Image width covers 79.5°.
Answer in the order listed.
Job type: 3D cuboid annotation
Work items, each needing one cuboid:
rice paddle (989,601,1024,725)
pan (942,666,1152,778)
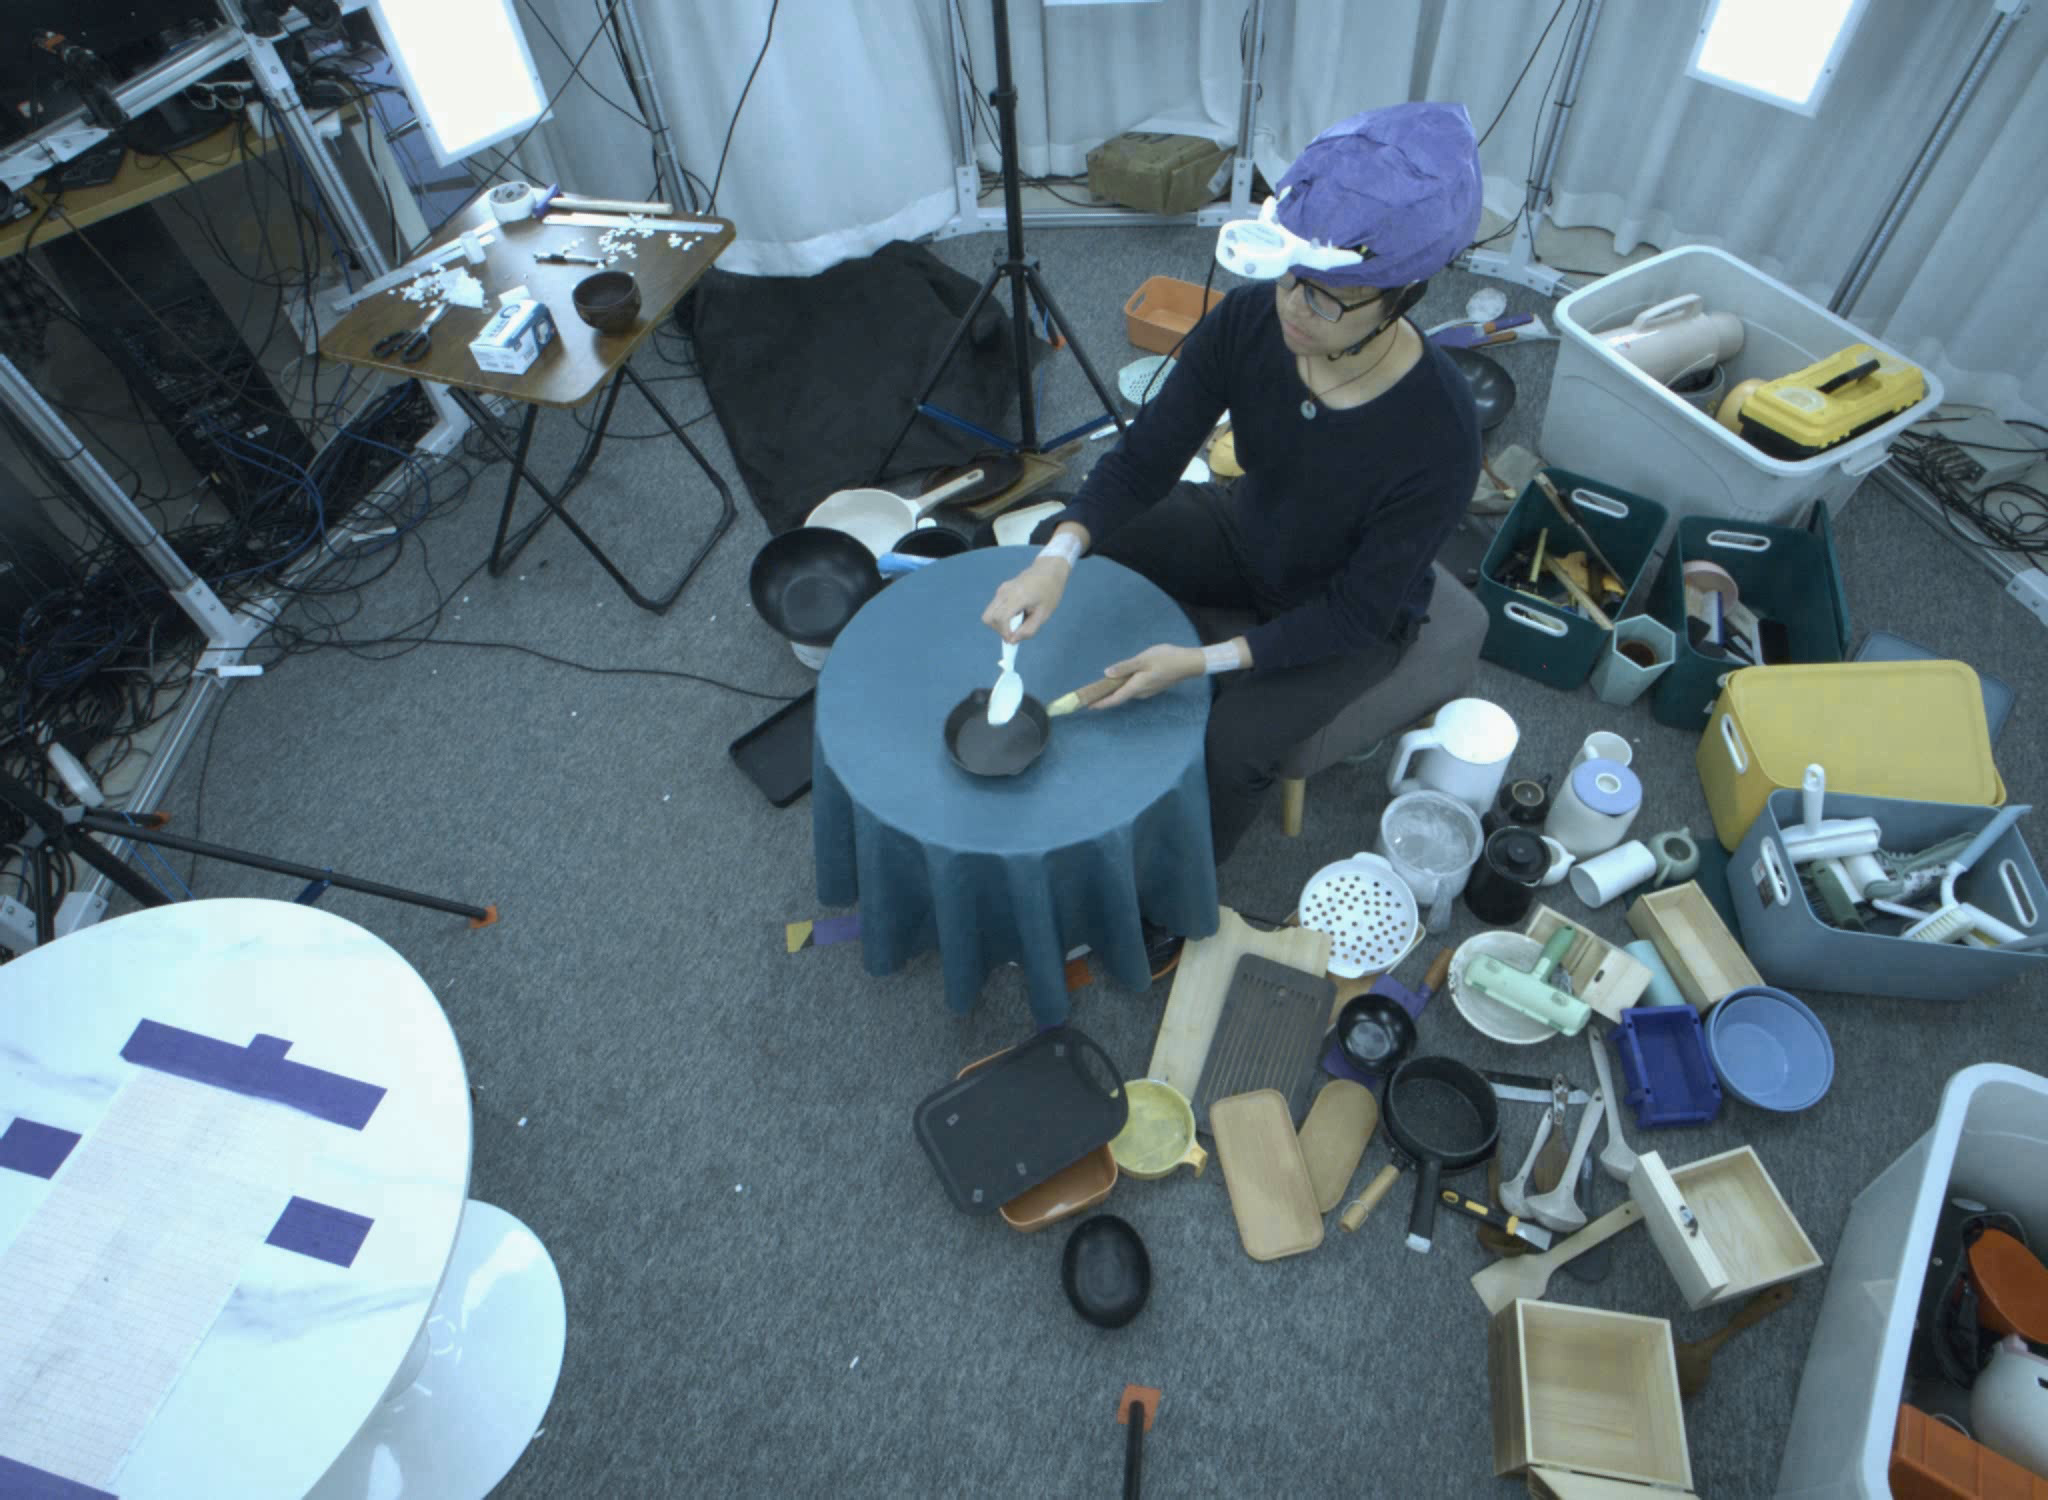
[{"bbox_3d":[-0.022,-0.114,1.701,0.029,0.207,0.069,35,51,30],"label":"rice paddle"},{"bbox_3d":[0.039,-0.054,1.787,0.326,0.050,0.166,-20,56,-8],"label":"pan"}]
